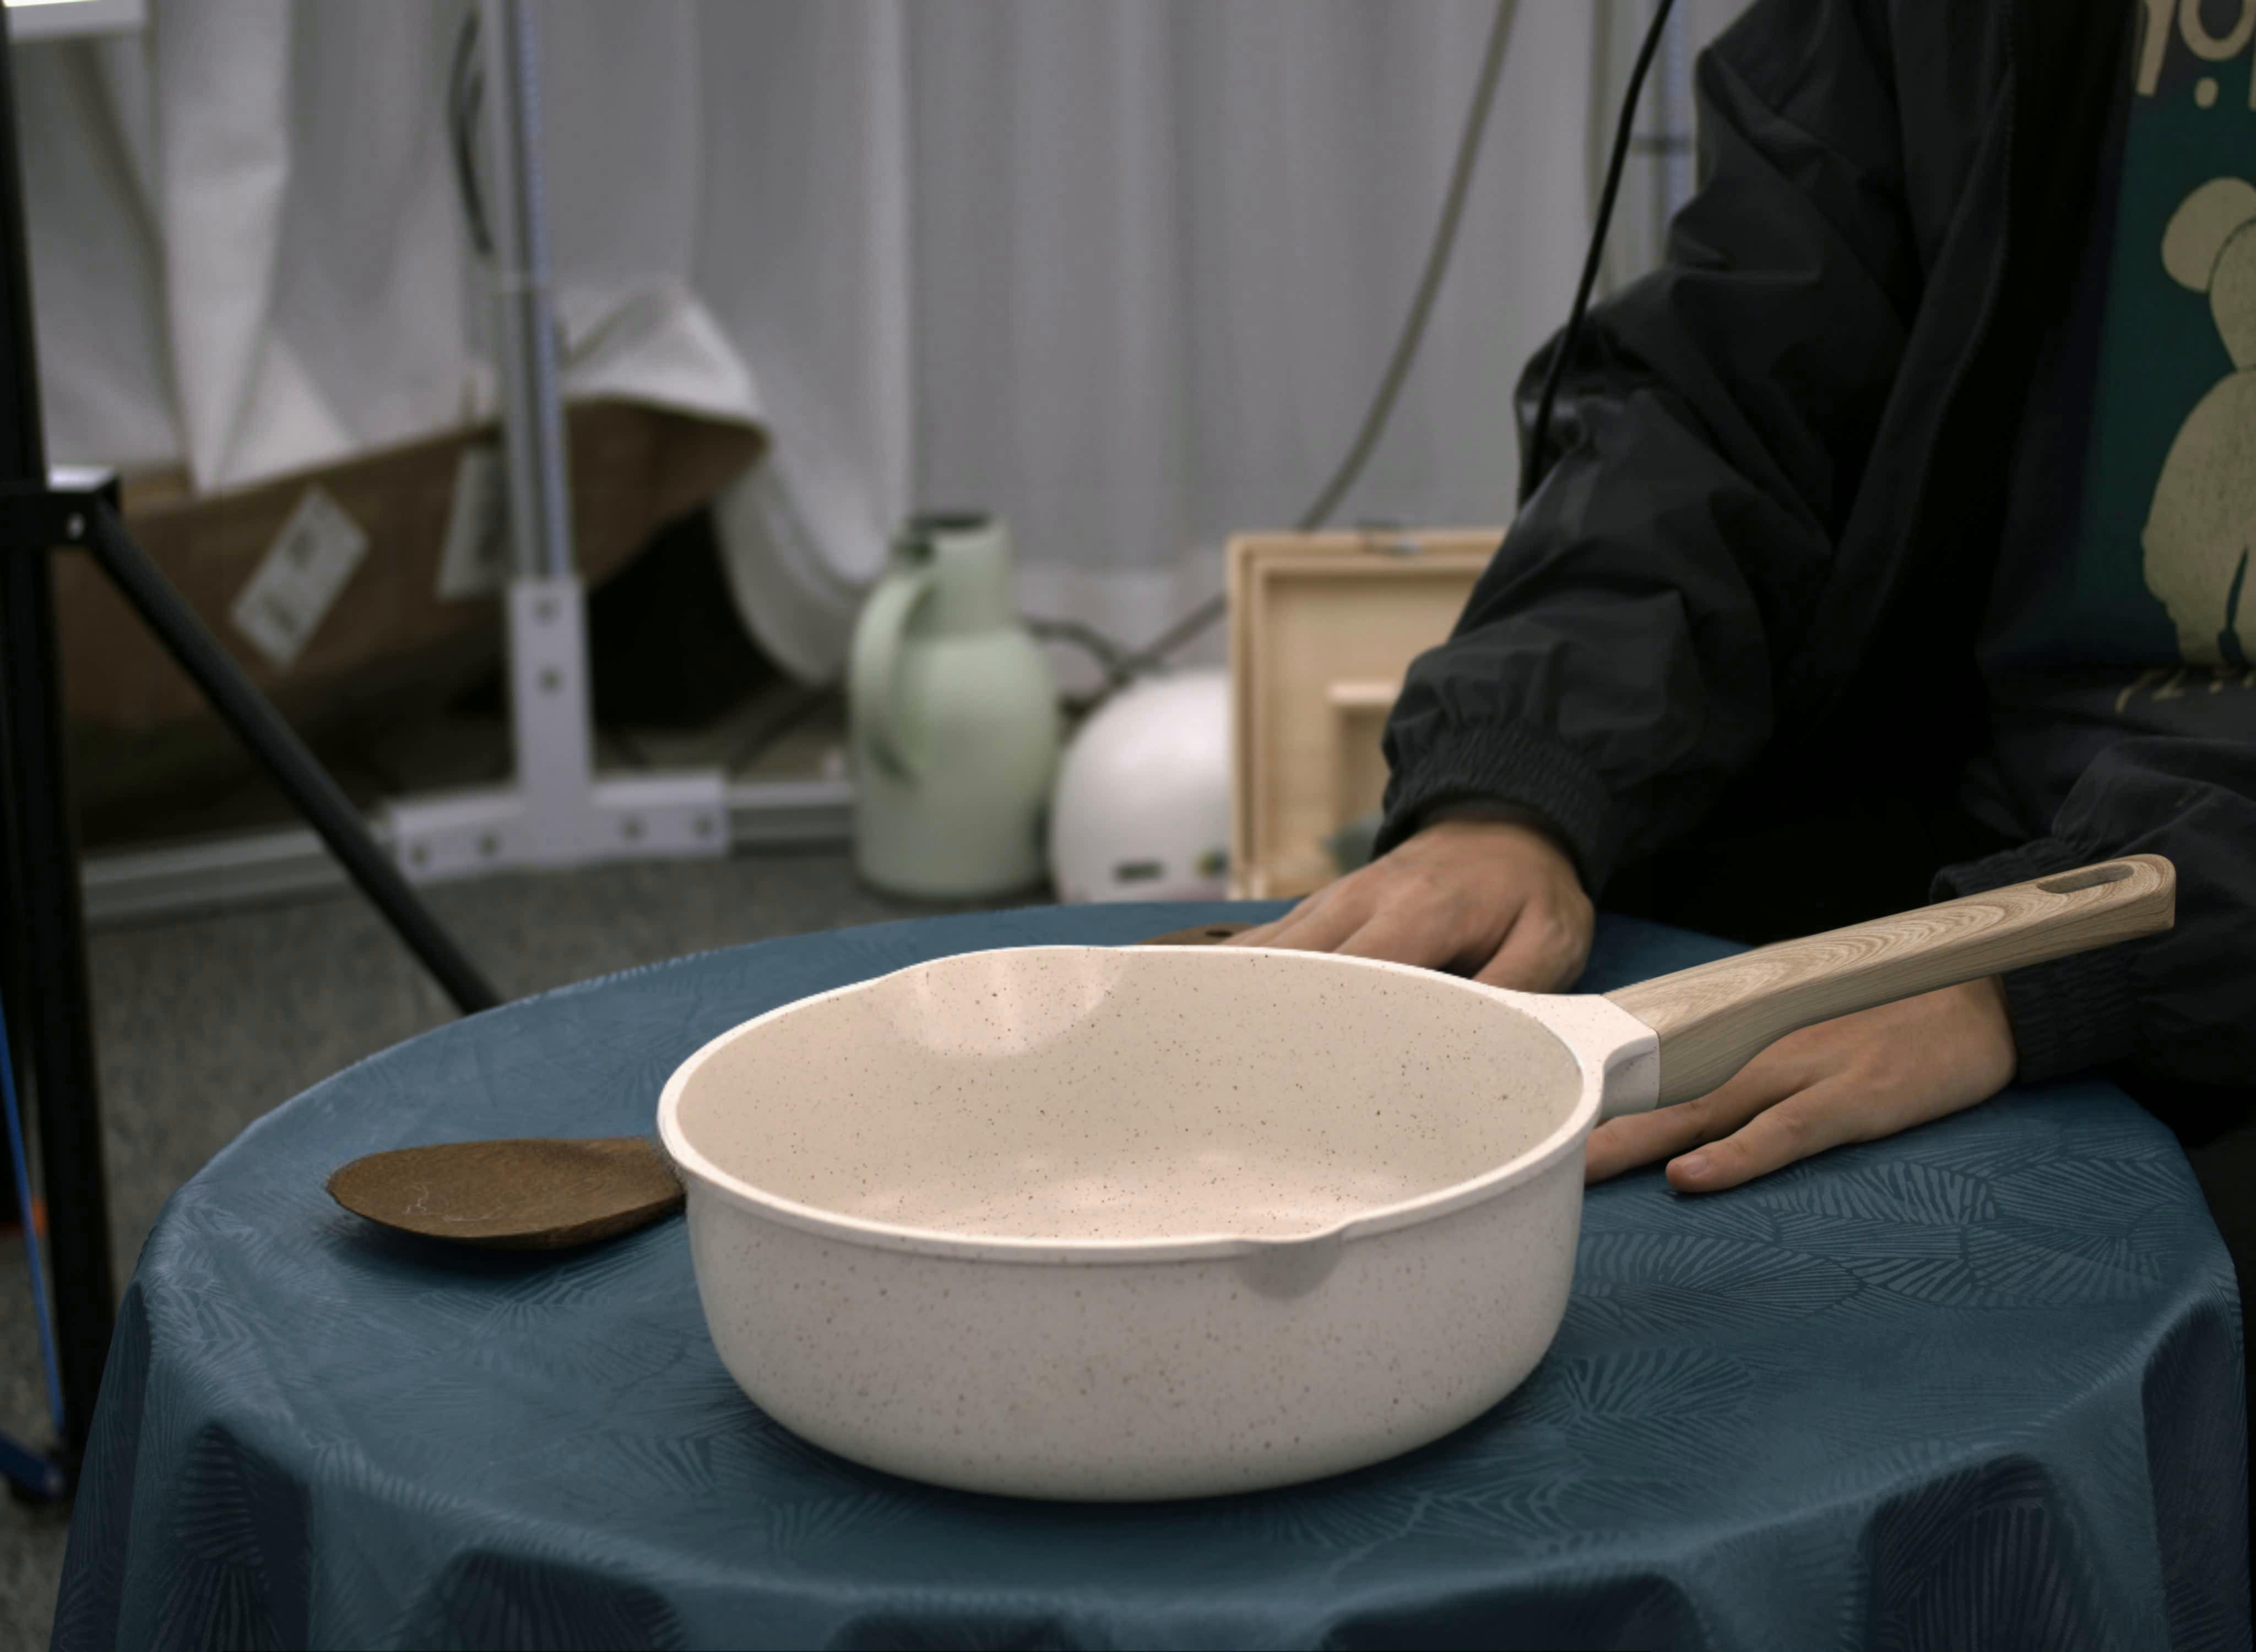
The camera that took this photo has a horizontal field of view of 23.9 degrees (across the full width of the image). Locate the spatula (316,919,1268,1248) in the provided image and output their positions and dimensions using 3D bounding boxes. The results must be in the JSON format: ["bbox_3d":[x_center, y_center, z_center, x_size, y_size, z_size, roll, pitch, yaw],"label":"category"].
[{"bbox_3d":[-0.086,0.075,1.662,0.098,0.016,0.377,13,22,42],"label":"spatula"}]

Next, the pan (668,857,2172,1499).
[{"bbox_3d":[0.092,0.087,1.430,0.428,0.102,0.267,-8,15,-16],"label":"pan"}]
